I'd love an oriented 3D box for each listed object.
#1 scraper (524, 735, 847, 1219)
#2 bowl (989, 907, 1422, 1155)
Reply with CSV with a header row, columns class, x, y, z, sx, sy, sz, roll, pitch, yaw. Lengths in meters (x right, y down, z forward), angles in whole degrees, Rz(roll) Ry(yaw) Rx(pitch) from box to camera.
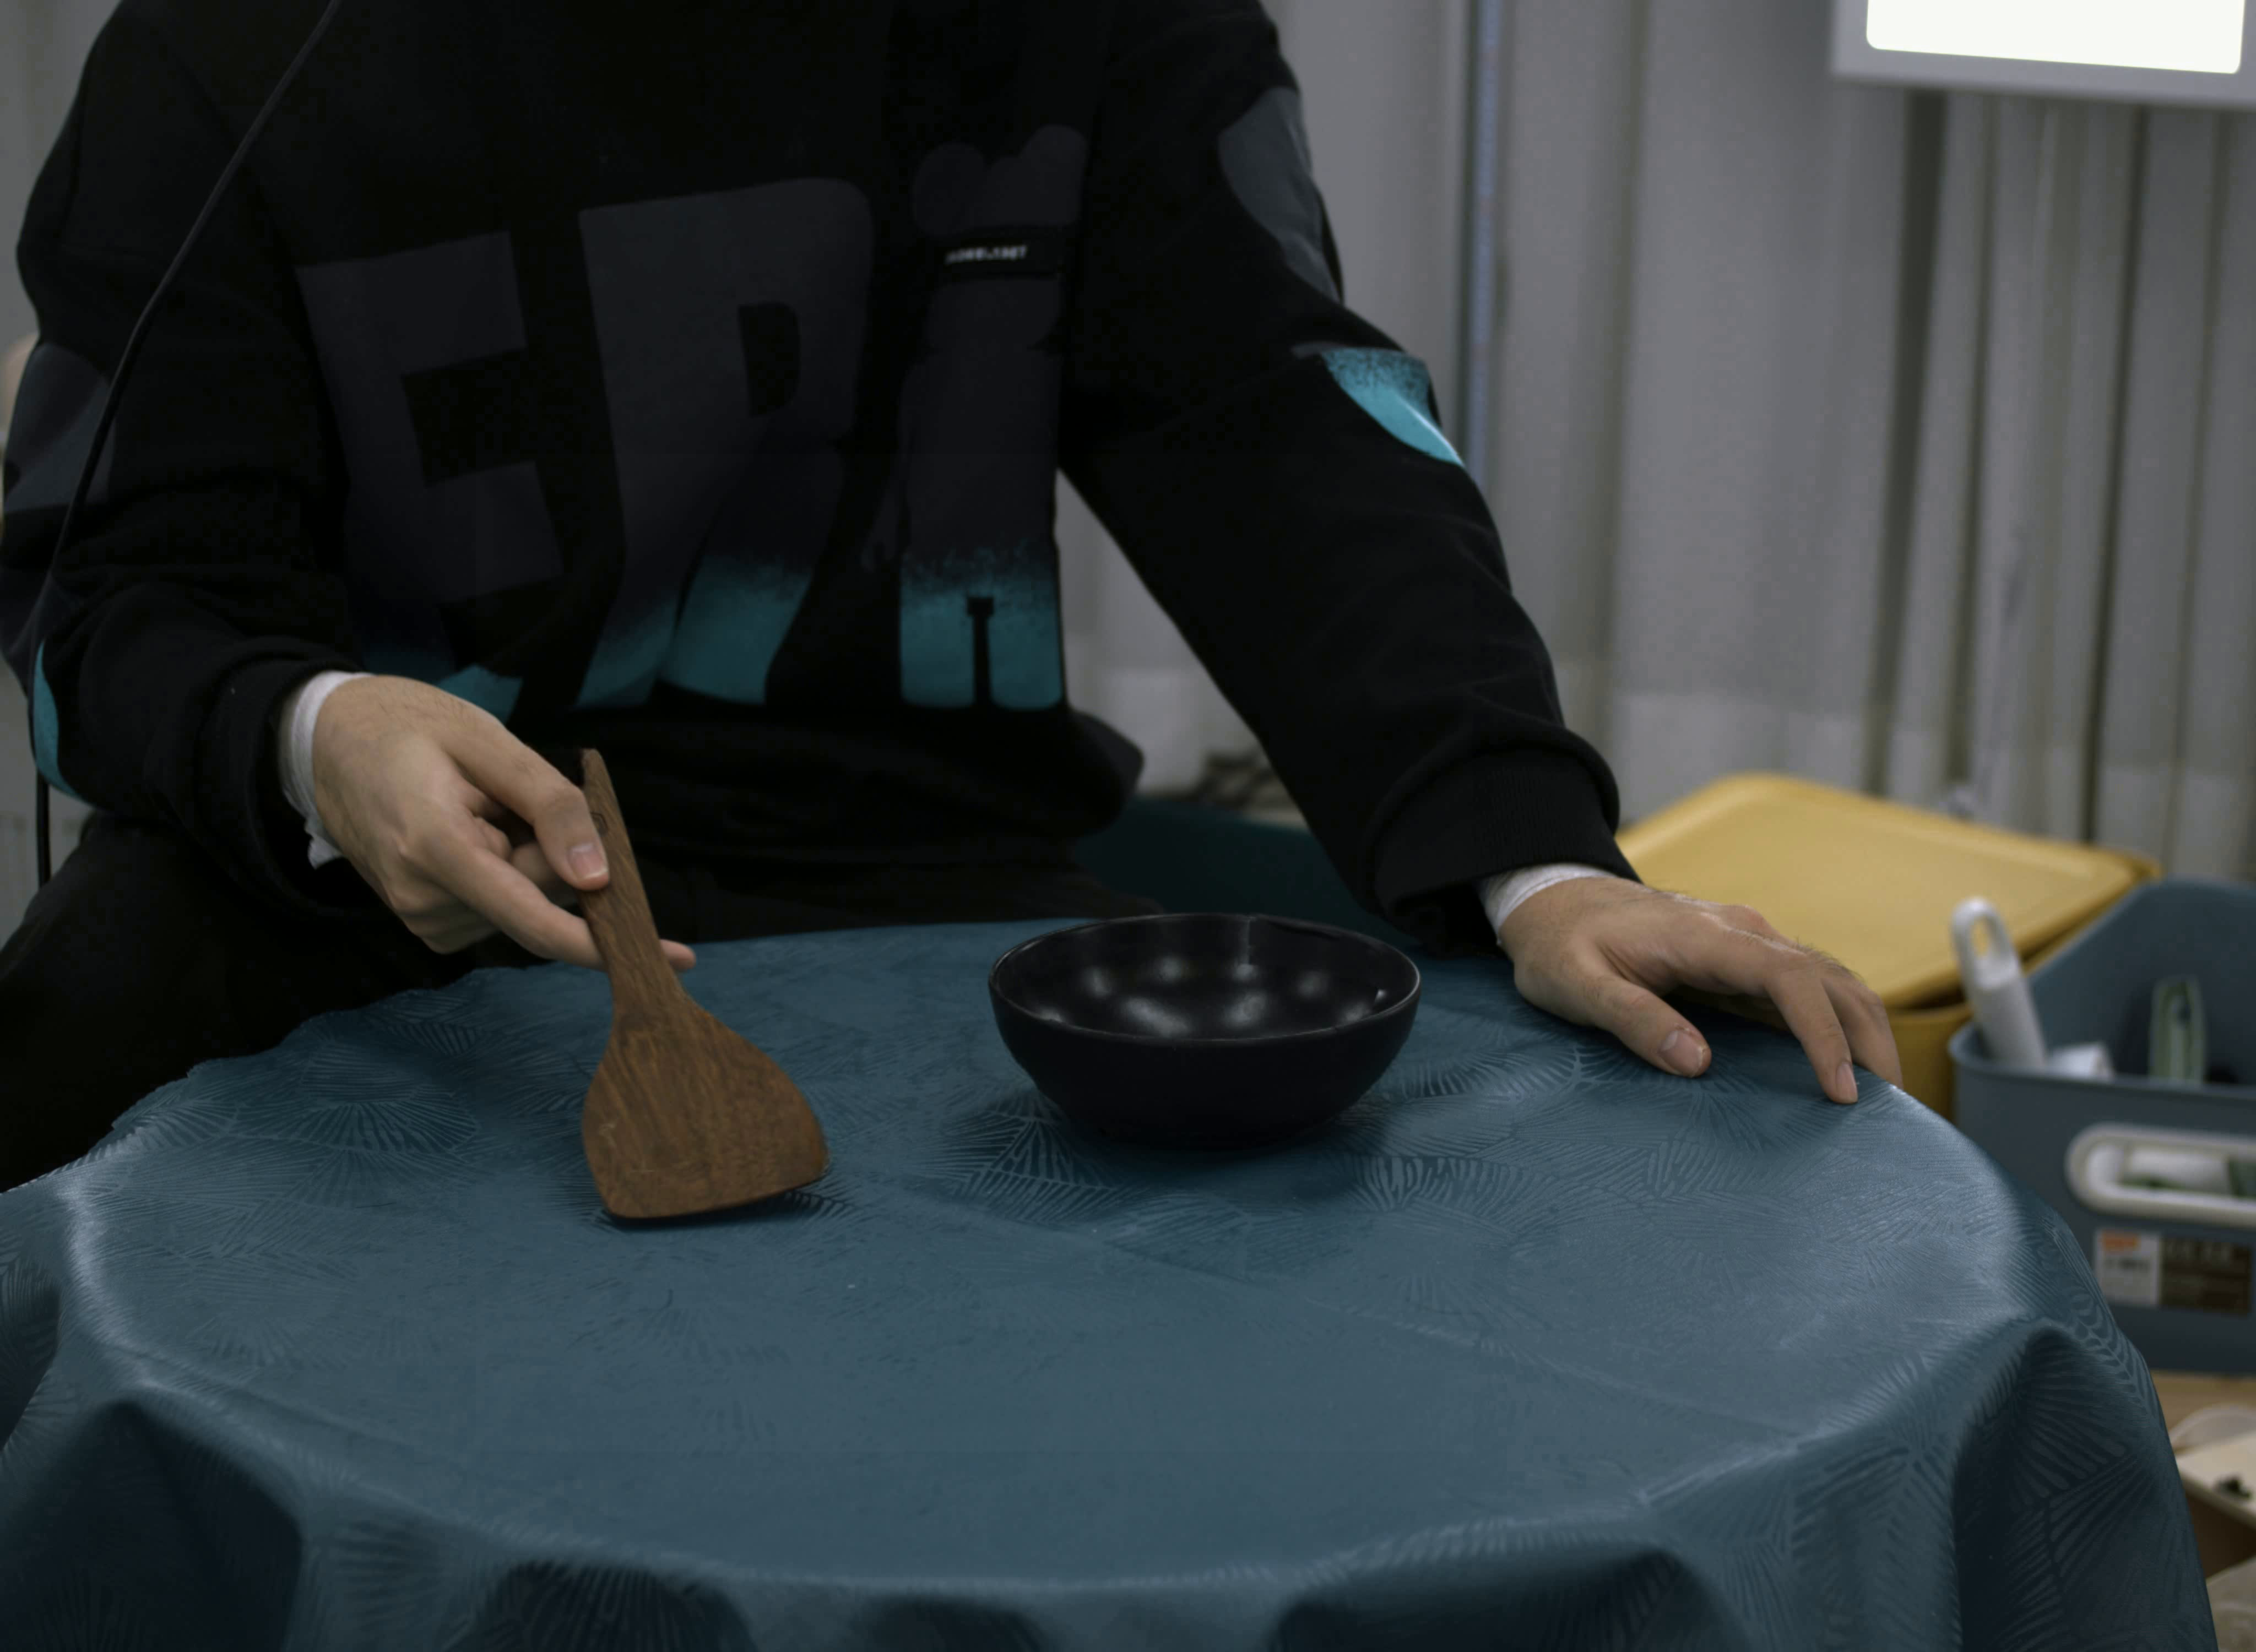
class,x,y,z,sx,sy,sz,roll,pitch,yaw
scraper,-0.152,0.044,1.658,0.076,0.011,0.209,-11,48,-17
bowl,0.026,0.070,1.687,0.139,0.050,0.139,-2,17,1
